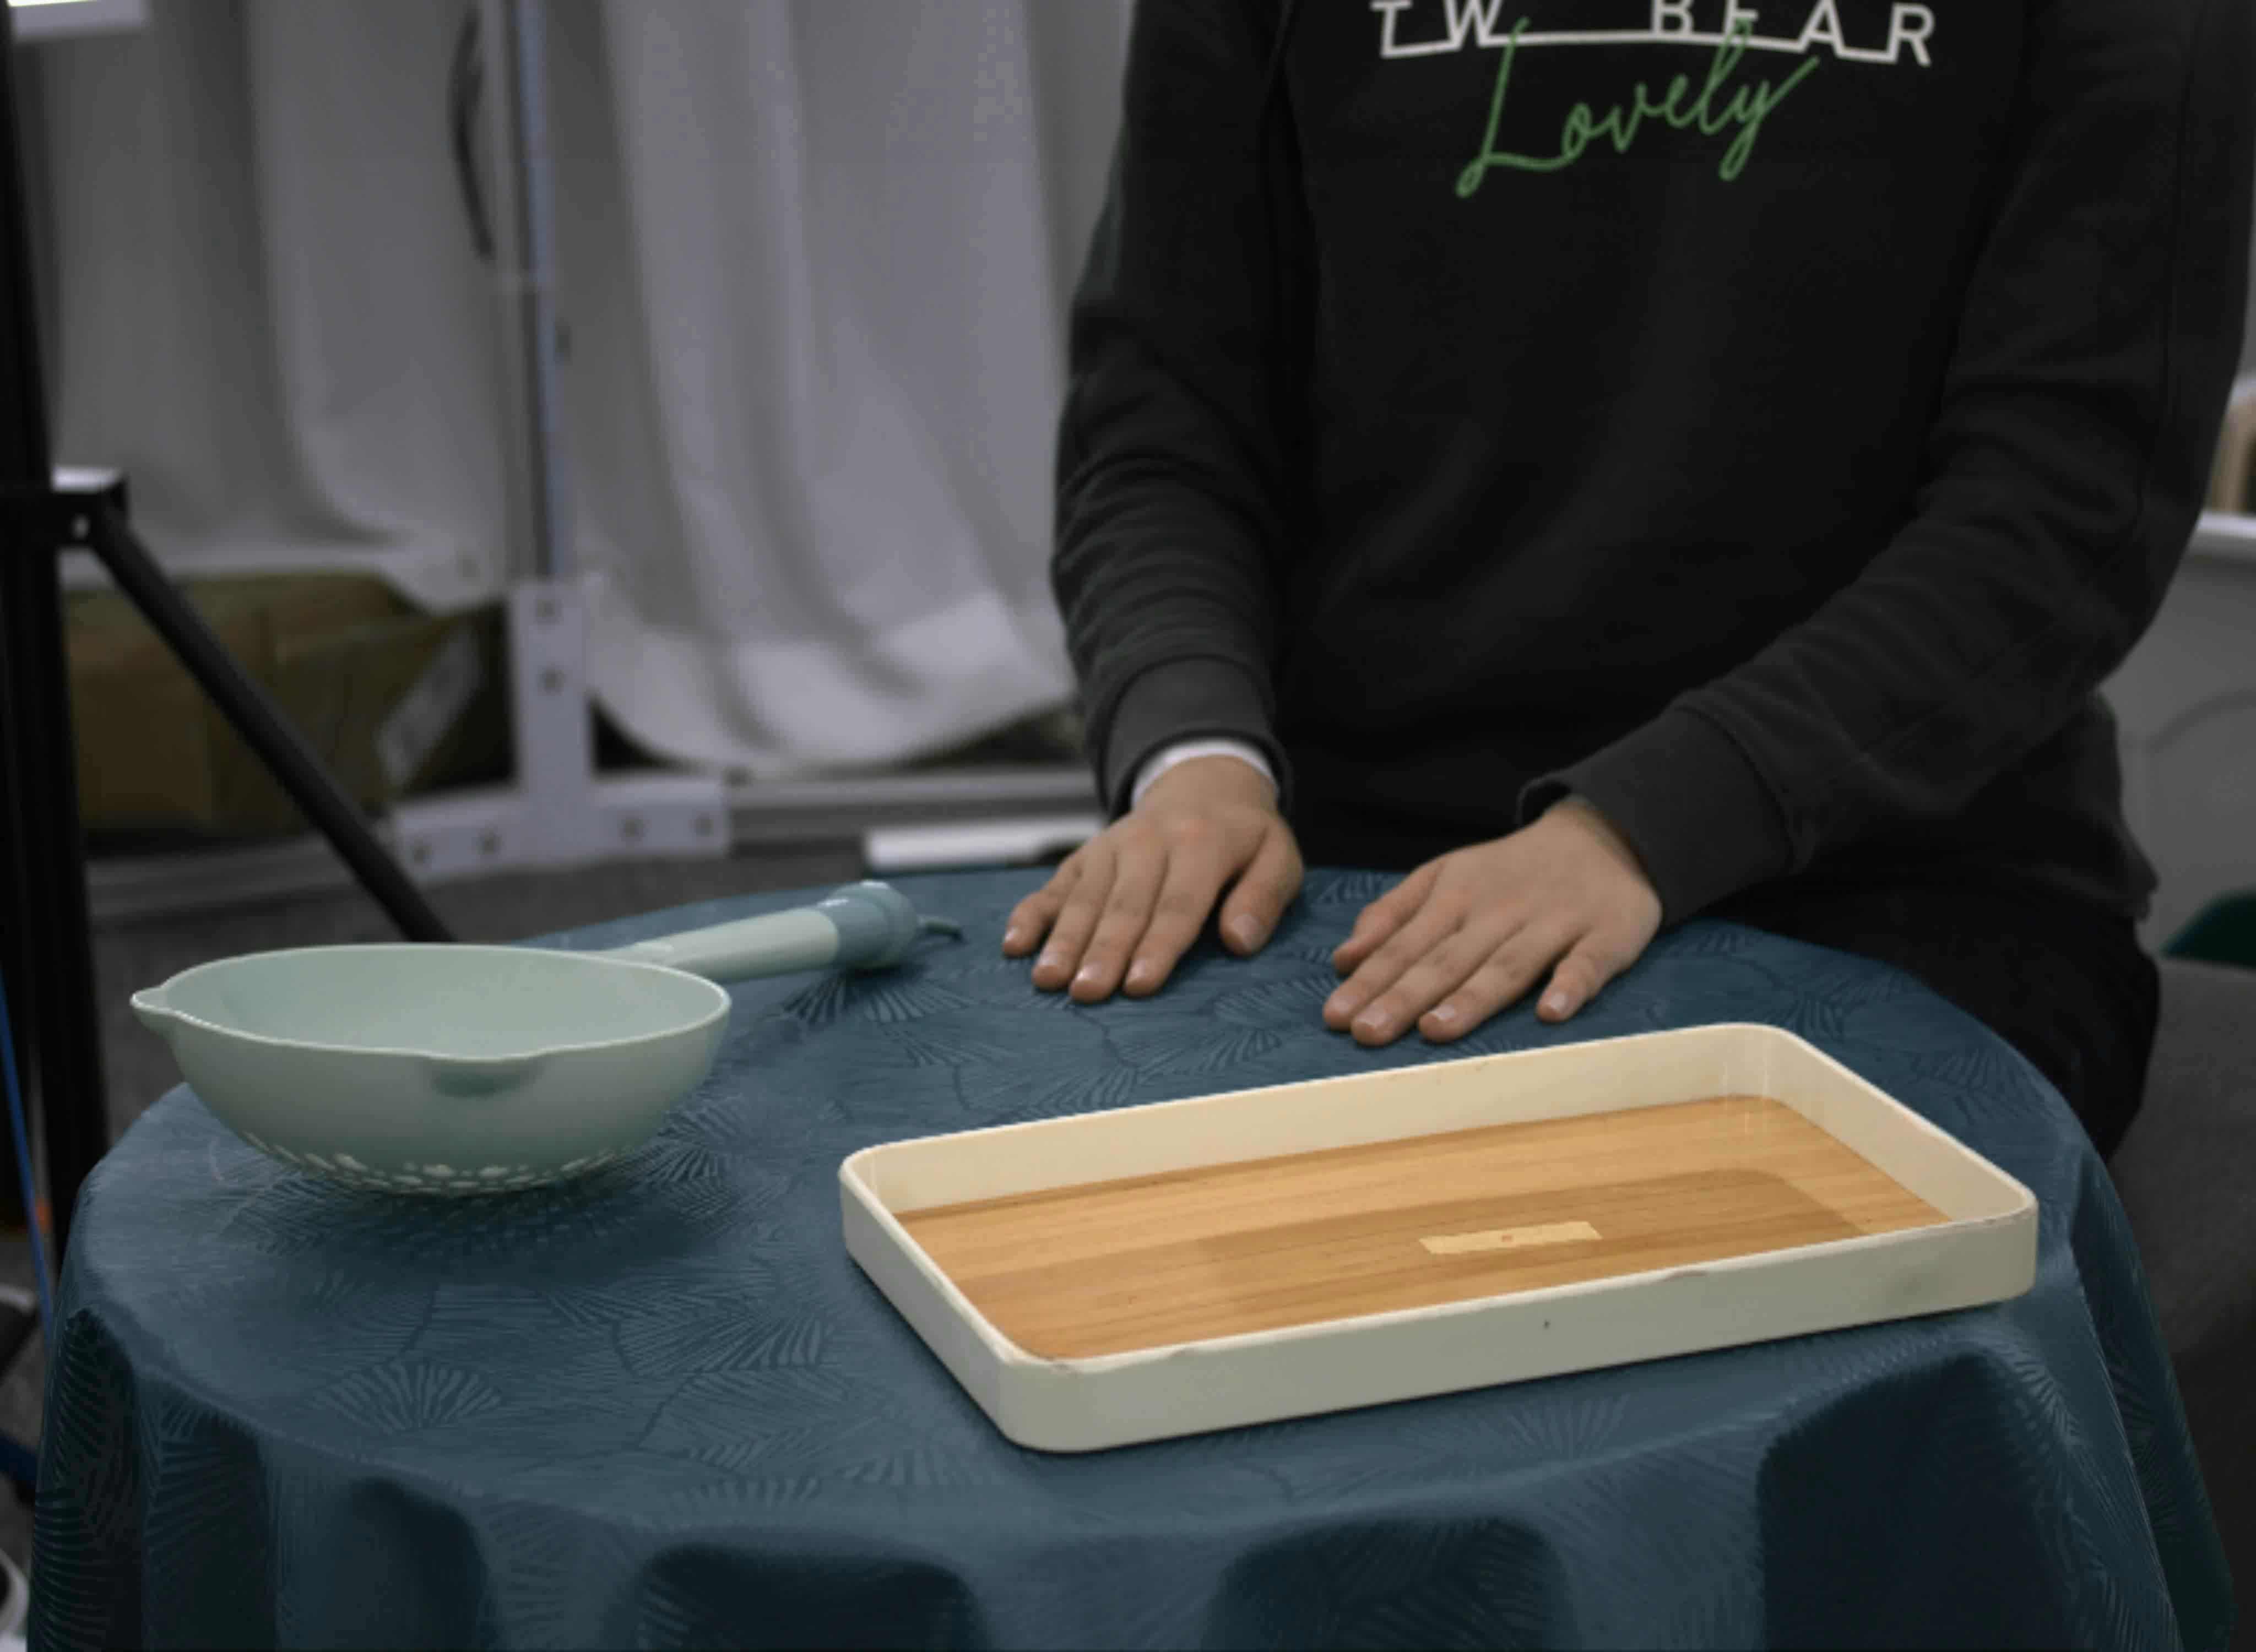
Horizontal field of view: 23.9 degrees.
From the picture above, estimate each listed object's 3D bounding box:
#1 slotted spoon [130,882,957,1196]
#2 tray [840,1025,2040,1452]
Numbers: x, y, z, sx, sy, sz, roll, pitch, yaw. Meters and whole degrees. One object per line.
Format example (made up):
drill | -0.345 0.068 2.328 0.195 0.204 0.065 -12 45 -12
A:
slotted spoon | -0.154 0.051 1.667 0.172 0.075 0.352 7 19 30
tray | 0.084 0.112 1.482 0.295 0.027 0.195 -7 16 -16
